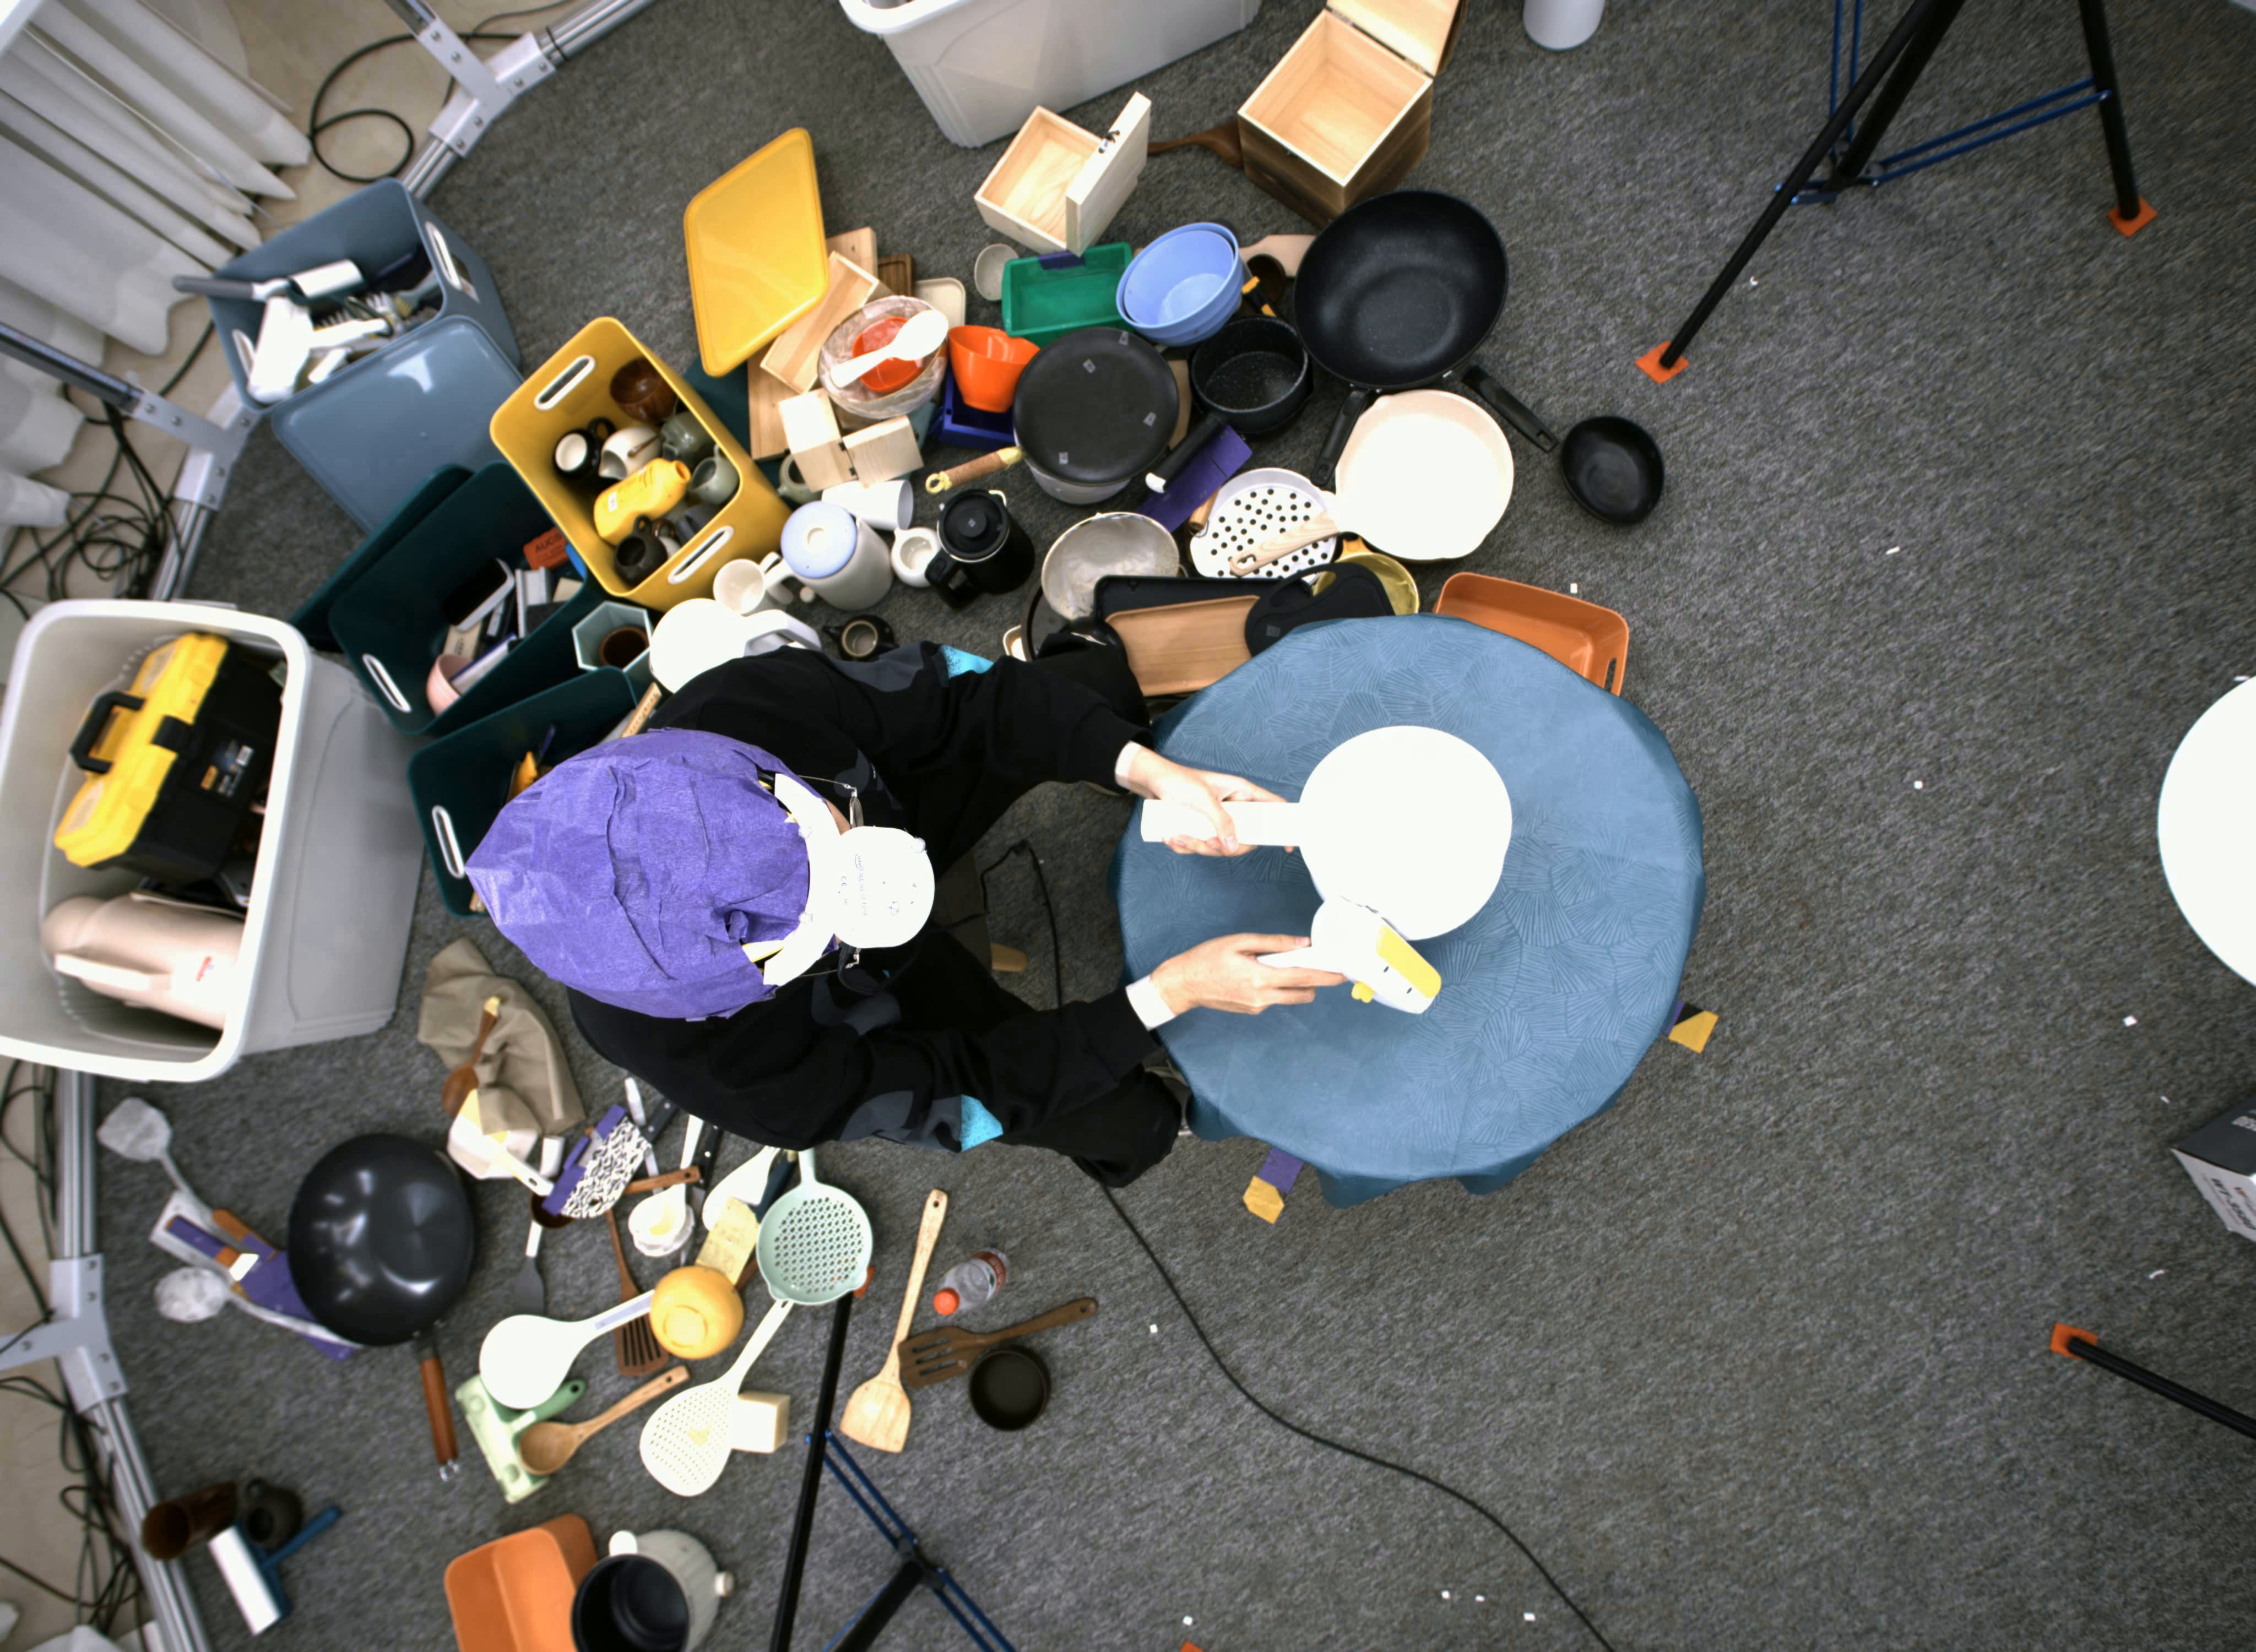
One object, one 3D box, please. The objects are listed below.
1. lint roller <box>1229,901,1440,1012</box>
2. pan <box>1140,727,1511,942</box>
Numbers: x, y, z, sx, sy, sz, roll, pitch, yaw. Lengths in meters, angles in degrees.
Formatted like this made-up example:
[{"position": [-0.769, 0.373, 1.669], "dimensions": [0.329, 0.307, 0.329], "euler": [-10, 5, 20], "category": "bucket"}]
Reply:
[{"position": [0.185, 0.130, 1.340], "dimensions": [0.194, 0.194, 0.073], "euler": [0, 70, 39], "category": "lint roller"}, {"position": [0.194, 0.010, 1.362], "dimensions": [0.356, 0.103, 0.197], "euler": [1, 69, 14], "category": "pan"}]
